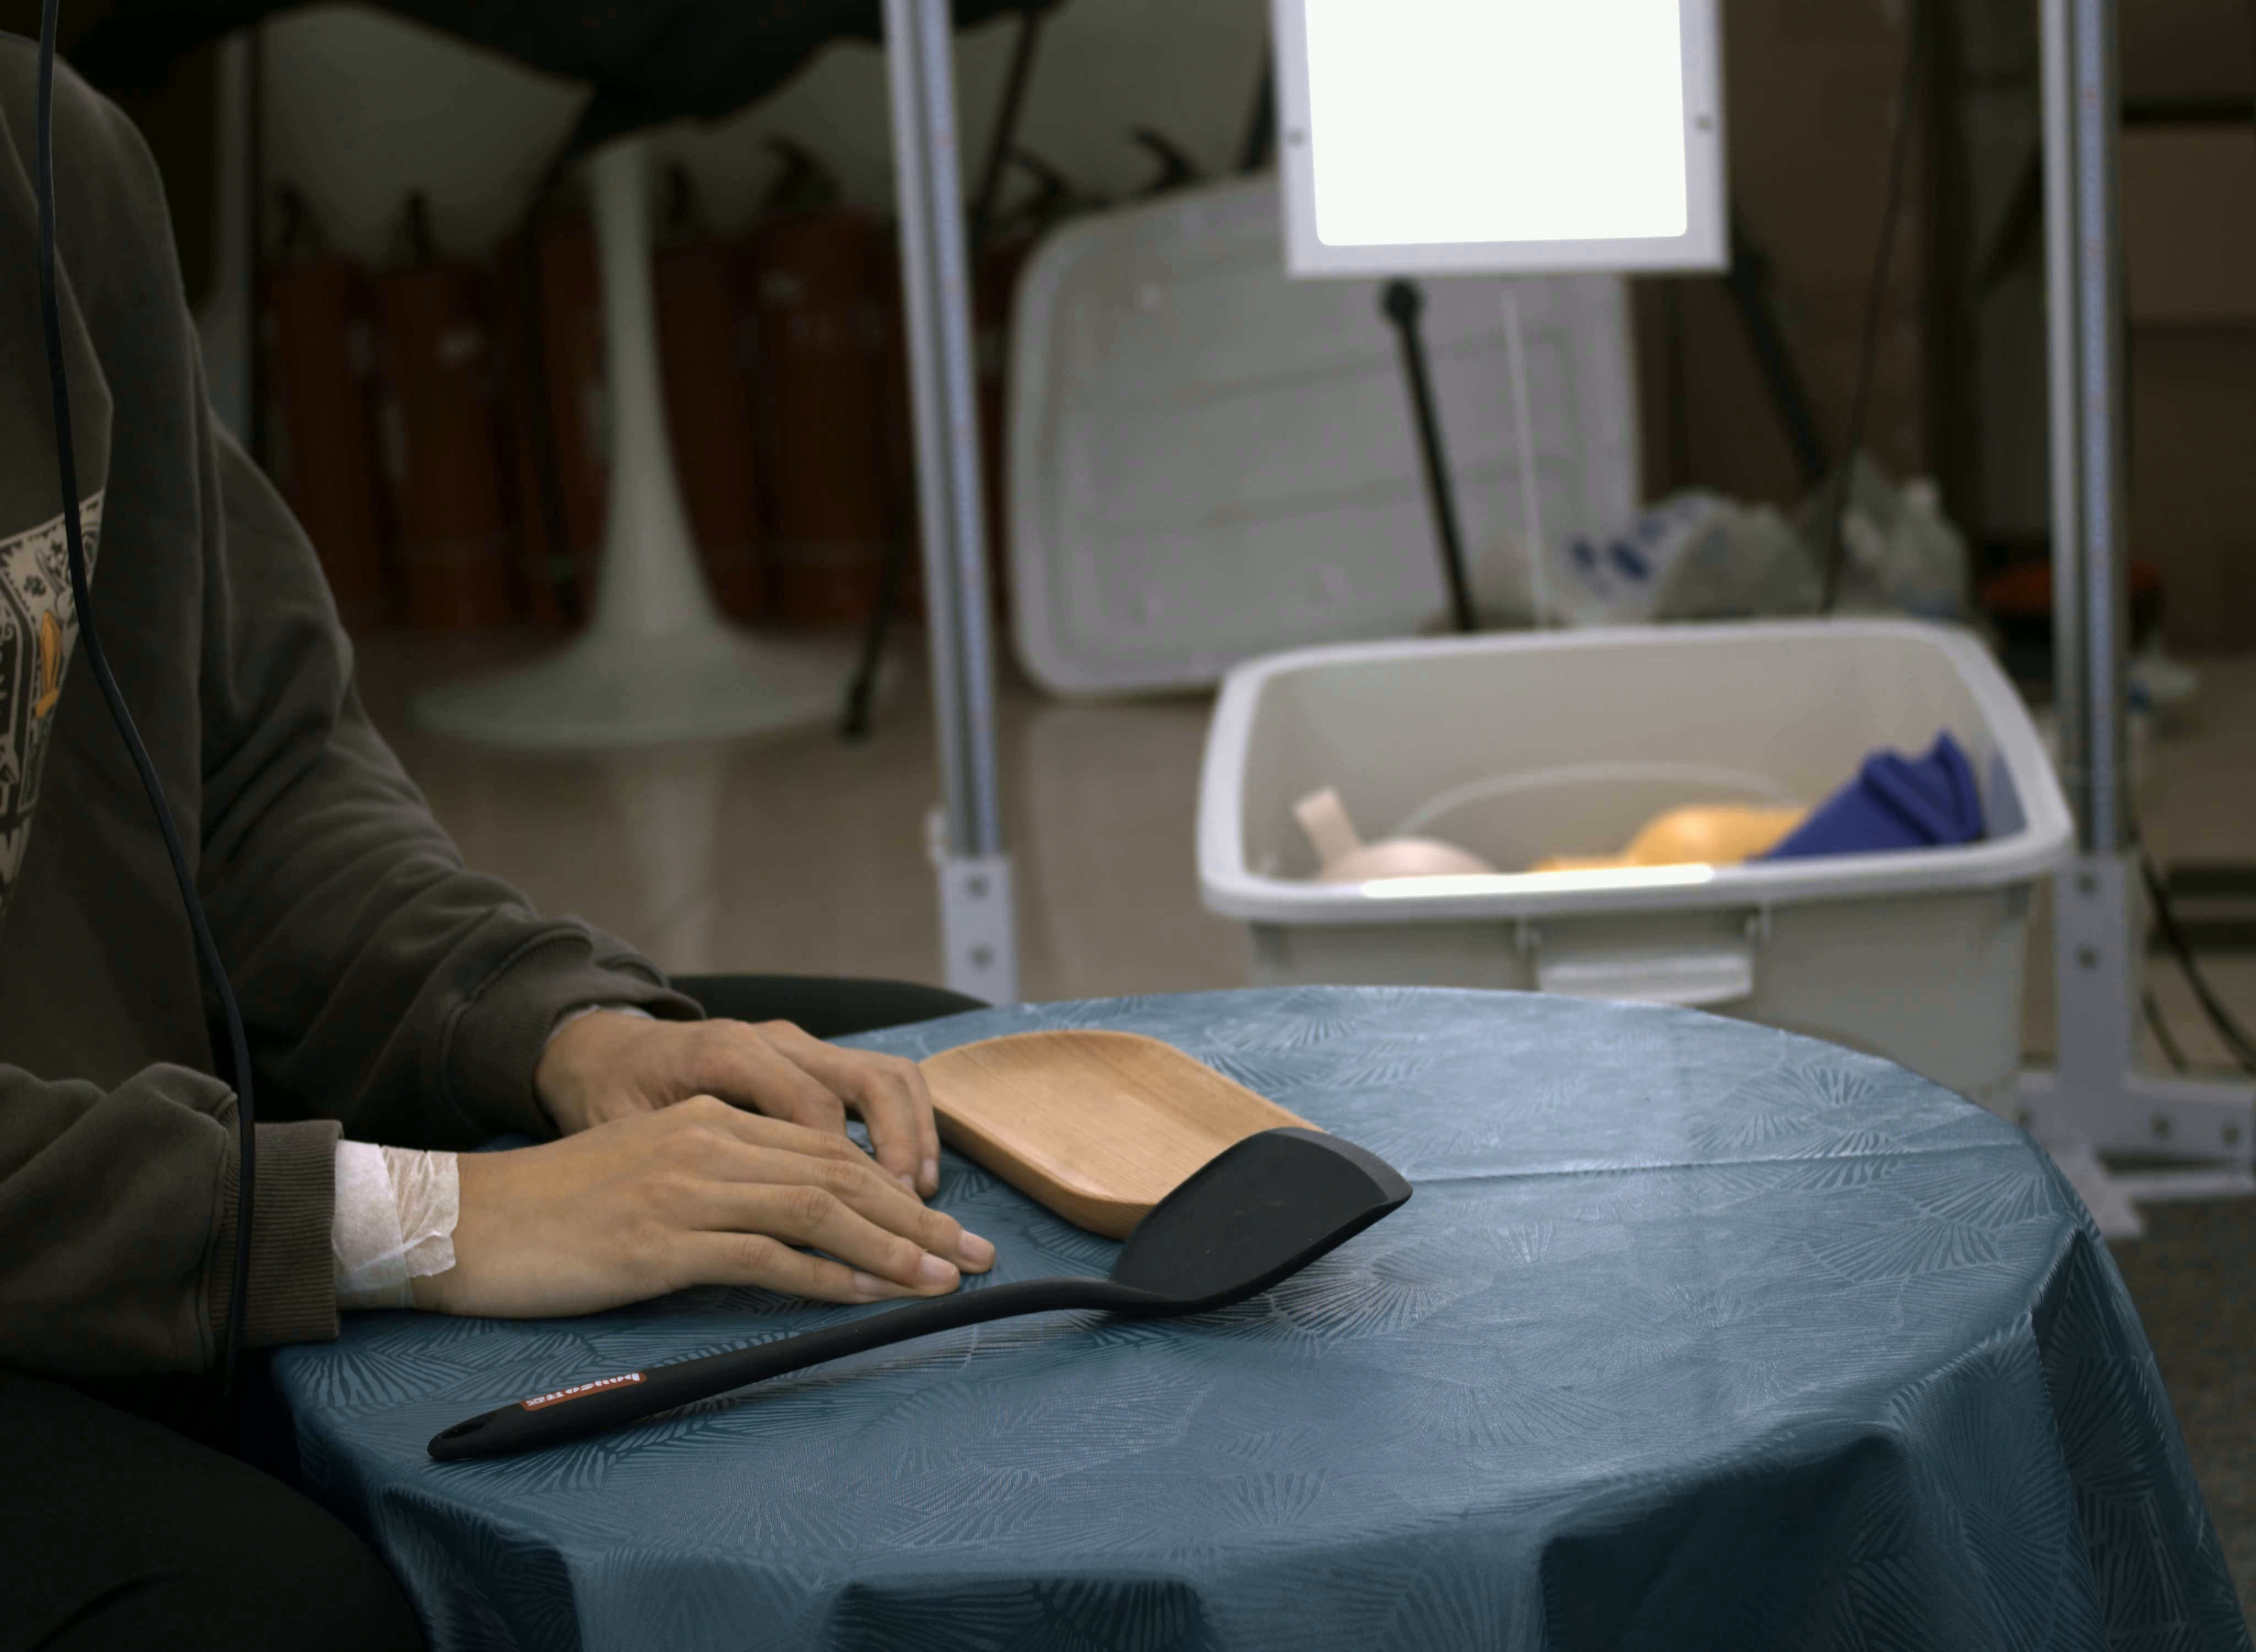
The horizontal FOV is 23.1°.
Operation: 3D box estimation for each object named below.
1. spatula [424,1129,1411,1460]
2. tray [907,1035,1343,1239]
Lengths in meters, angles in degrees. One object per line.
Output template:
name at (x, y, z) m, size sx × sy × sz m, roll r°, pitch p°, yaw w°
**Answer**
spatula at (-0.068, 0.151, 1.745) m, size 0.320 × 0.040 × 0.101 m, roll -10°, pitch 13°, yaw -20°
tray at (-0.003, 0.108, 1.938) m, size 0.100 × 0.020 × 0.234 m, roll -11°, pitch 16°, yaw -21°
